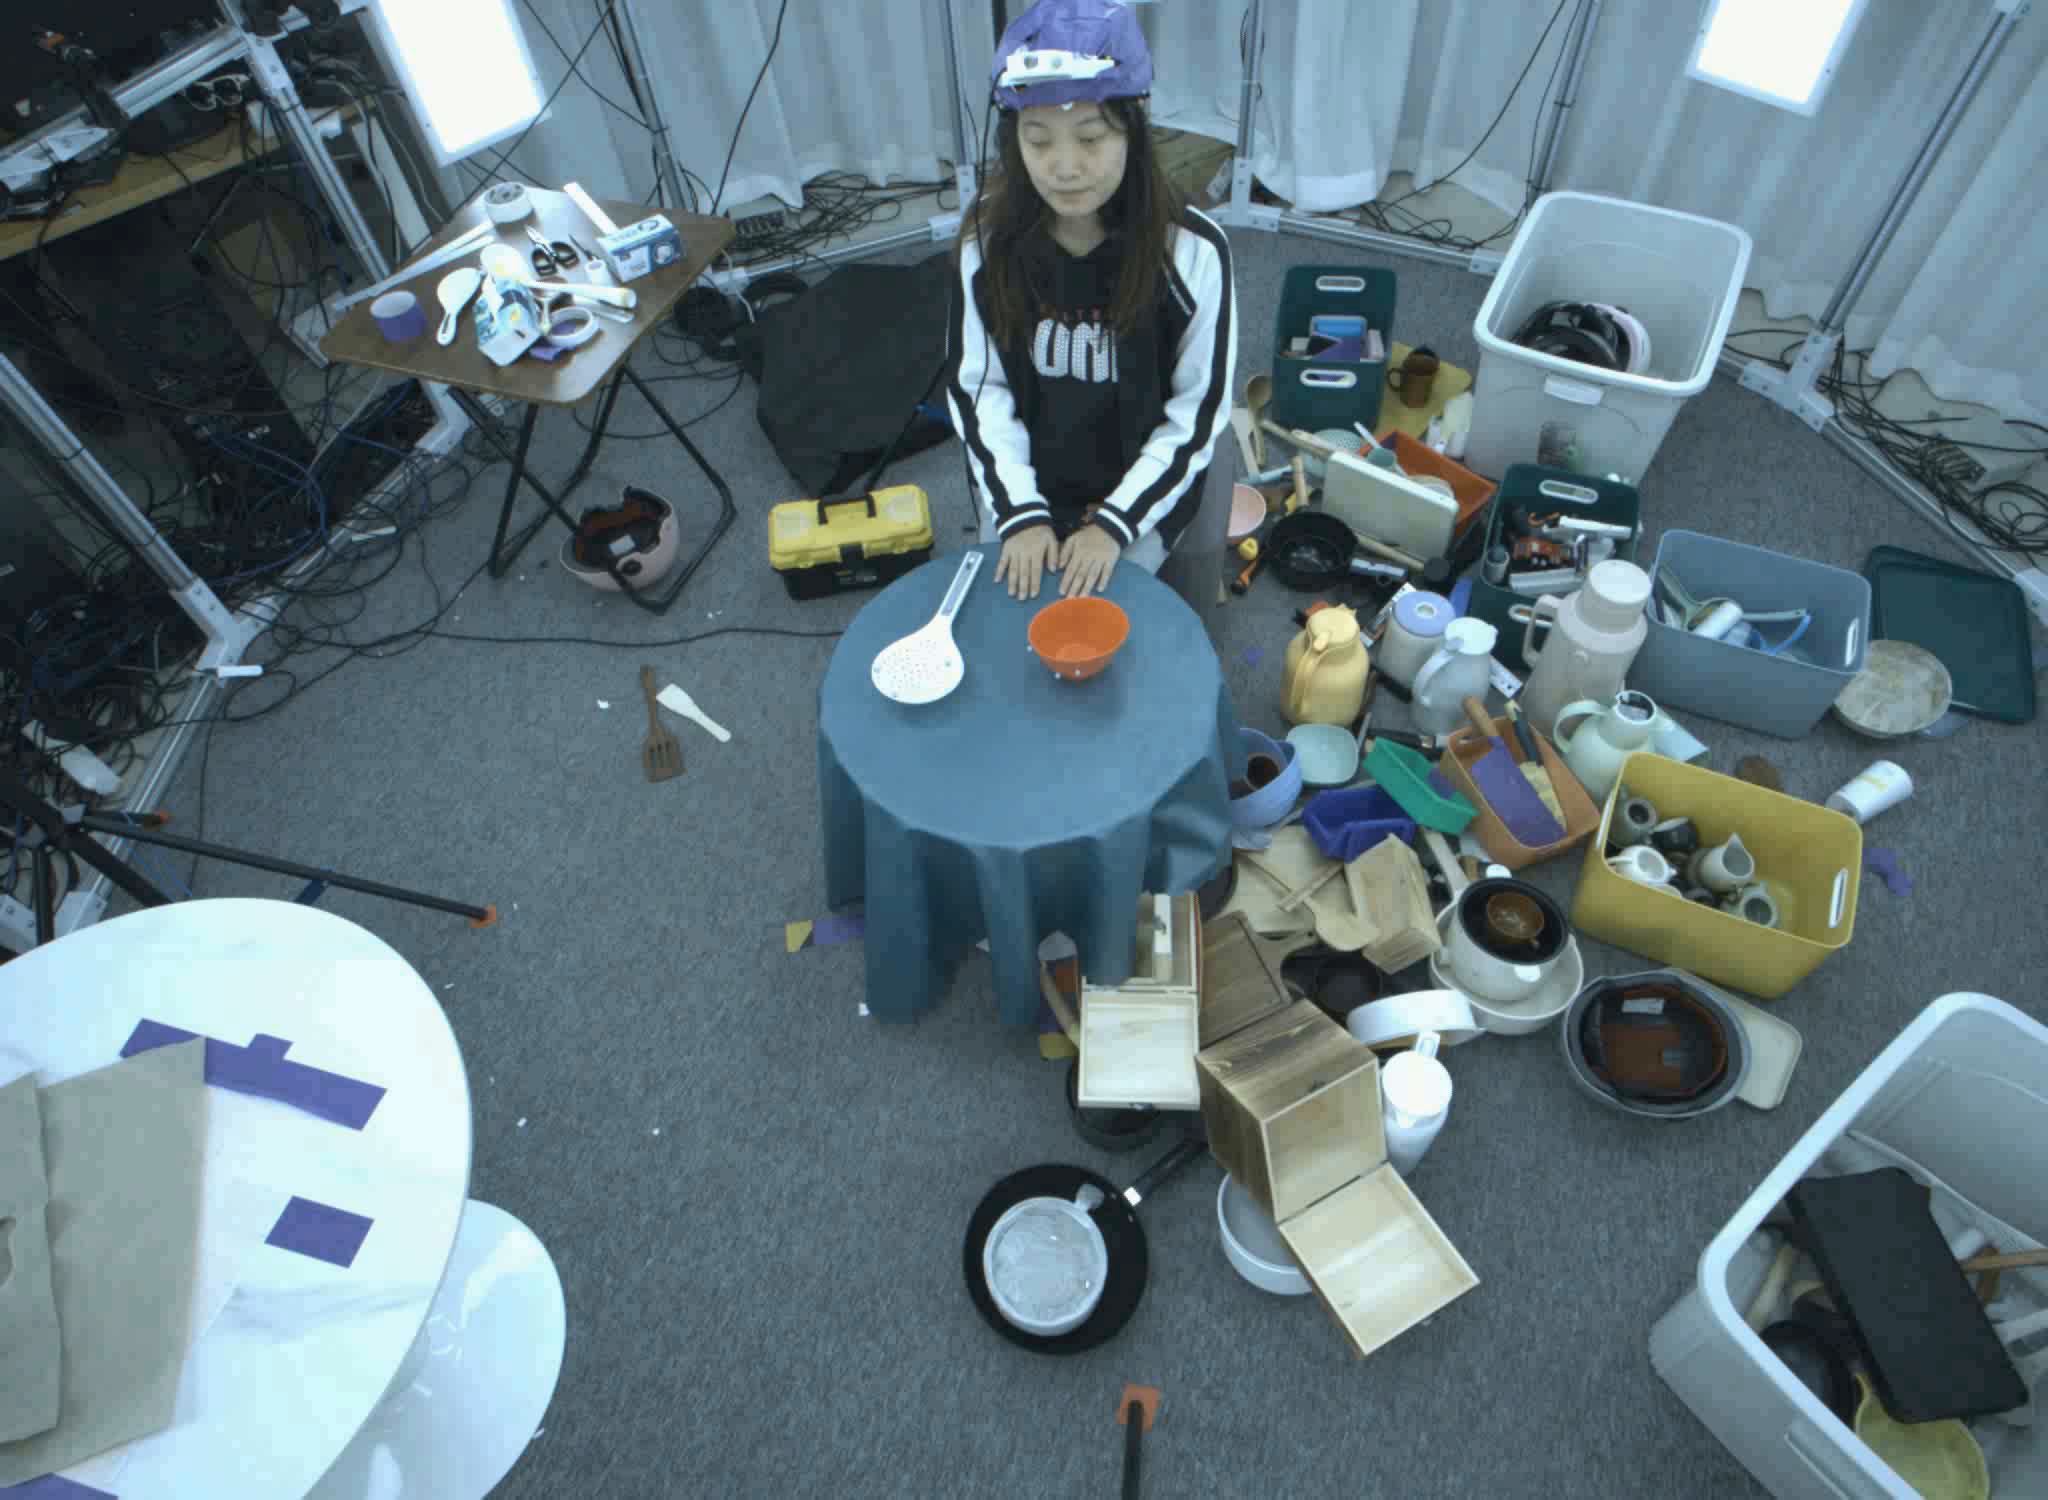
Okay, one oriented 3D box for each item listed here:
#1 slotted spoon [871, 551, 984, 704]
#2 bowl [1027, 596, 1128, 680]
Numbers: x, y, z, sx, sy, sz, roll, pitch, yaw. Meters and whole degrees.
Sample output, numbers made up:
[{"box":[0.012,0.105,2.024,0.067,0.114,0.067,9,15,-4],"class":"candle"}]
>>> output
[{"box":[-0.129,-0.195,1.902,0.135,0.046,0.348,13,56,10],"class":"slotted spoon"},{"box":[0.081,-0.153,1.832,0.148,0.106,0.146,-2,54,4],"class":"bowl"}]
